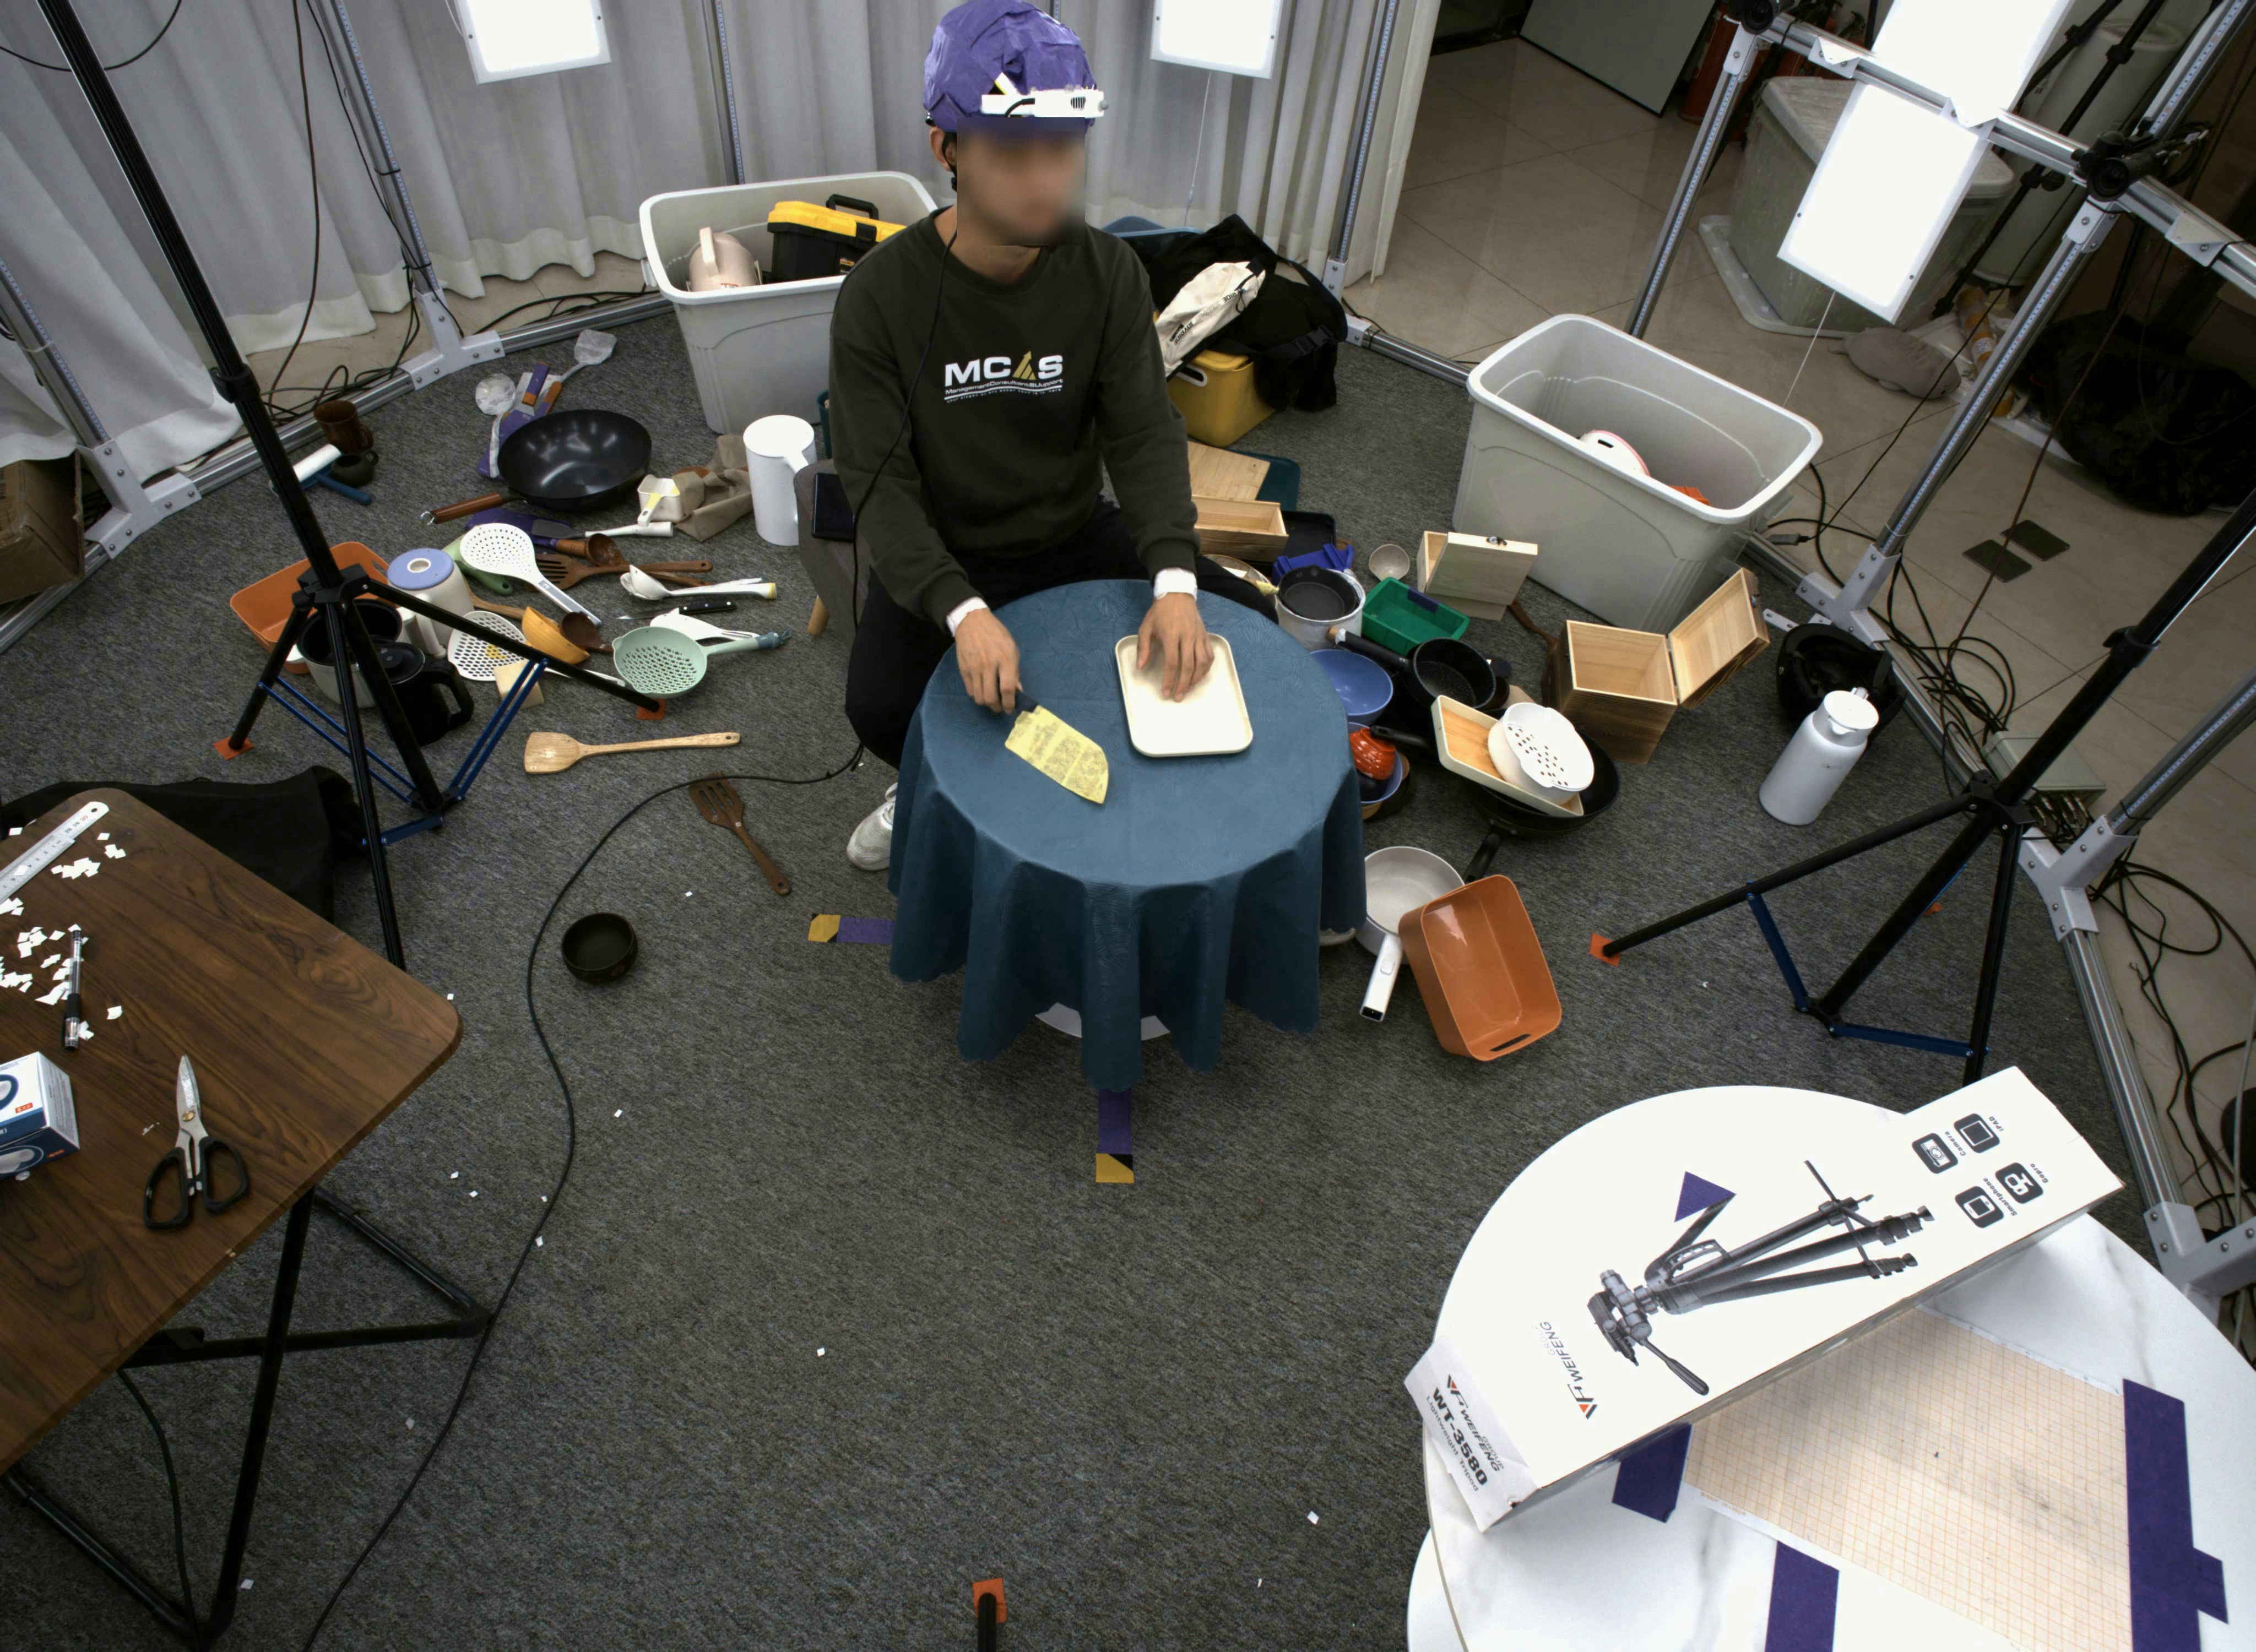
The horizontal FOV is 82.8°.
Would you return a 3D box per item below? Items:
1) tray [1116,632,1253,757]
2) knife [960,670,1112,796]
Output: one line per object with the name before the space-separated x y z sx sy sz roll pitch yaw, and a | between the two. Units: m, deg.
tray | 0.077 -0.189 1.824 0.171 0.017 0.246 -4 49 -6
knife | -0.131 -0.128 1.741 0.293 0.027 0.081 37 91 26
